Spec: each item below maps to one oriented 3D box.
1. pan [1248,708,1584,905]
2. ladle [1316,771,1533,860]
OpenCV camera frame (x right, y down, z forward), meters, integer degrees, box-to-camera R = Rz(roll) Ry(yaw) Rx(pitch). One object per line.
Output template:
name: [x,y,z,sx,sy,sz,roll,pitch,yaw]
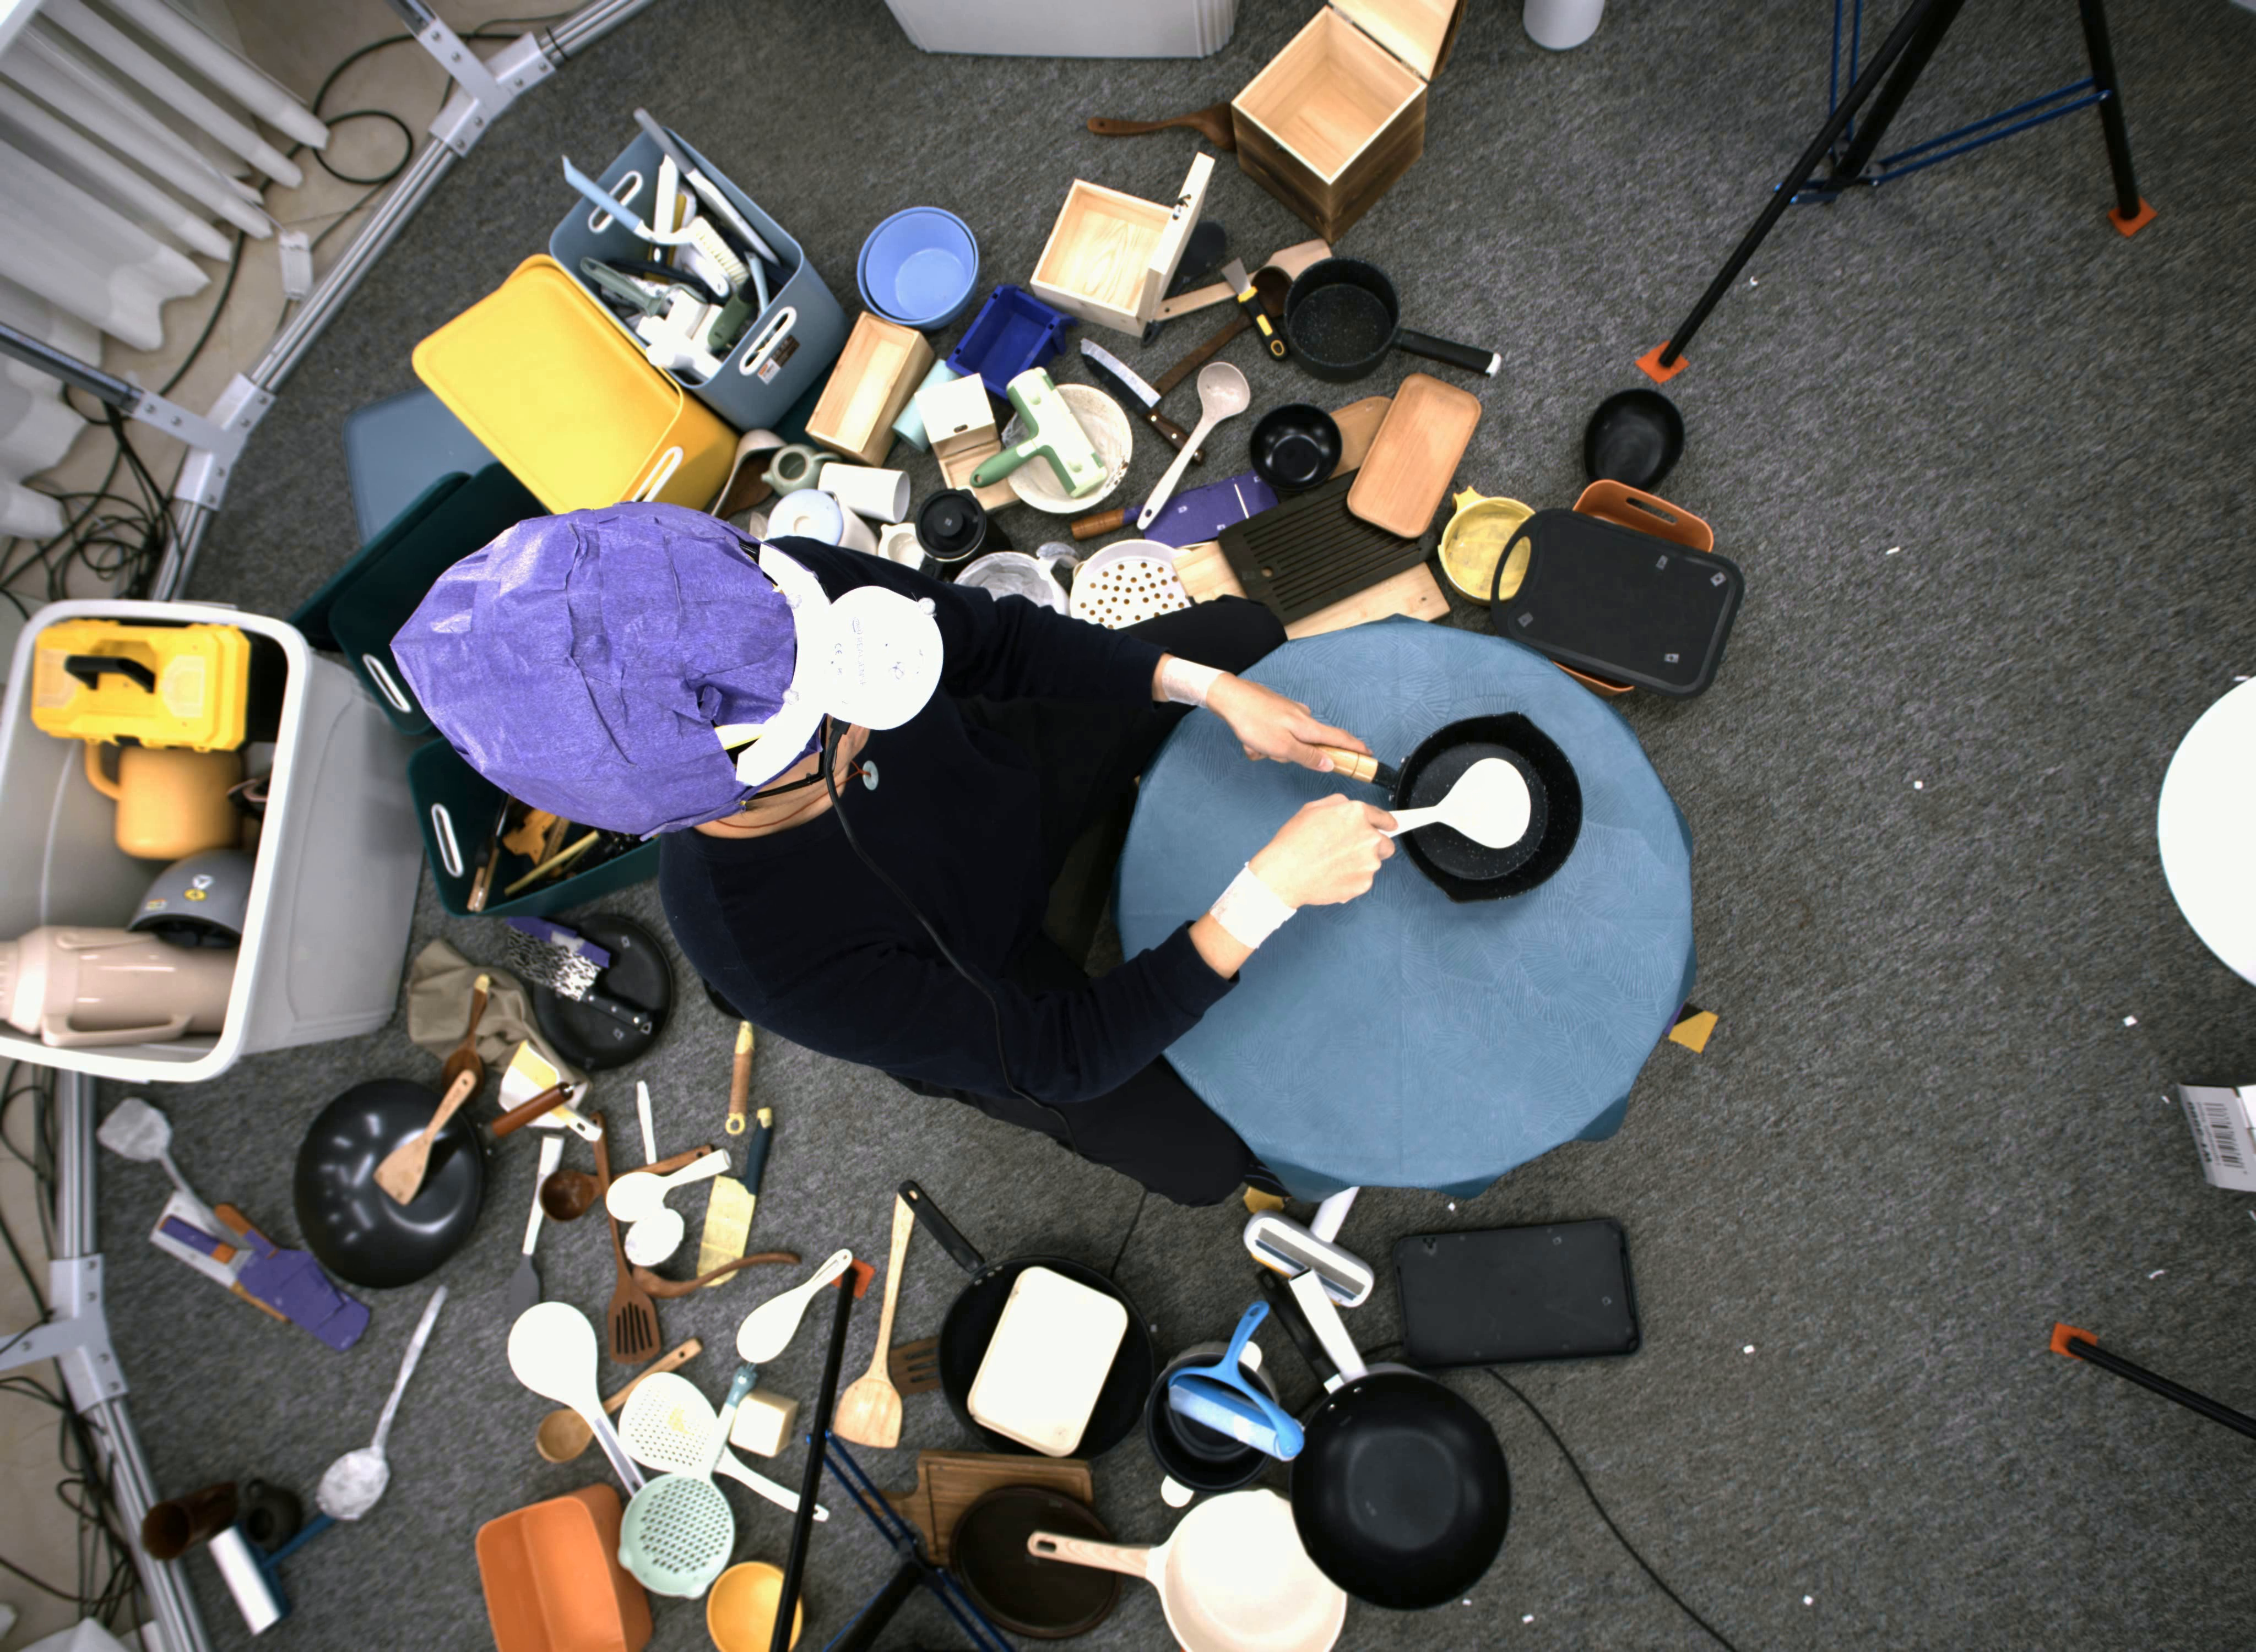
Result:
pan: [0.285,-0.042,1.398,0.343,0.108,0.208,17,94,6]
ladle: [0.287,-0.002,1.297,0.070,0.290,0.090,1,96,42]
